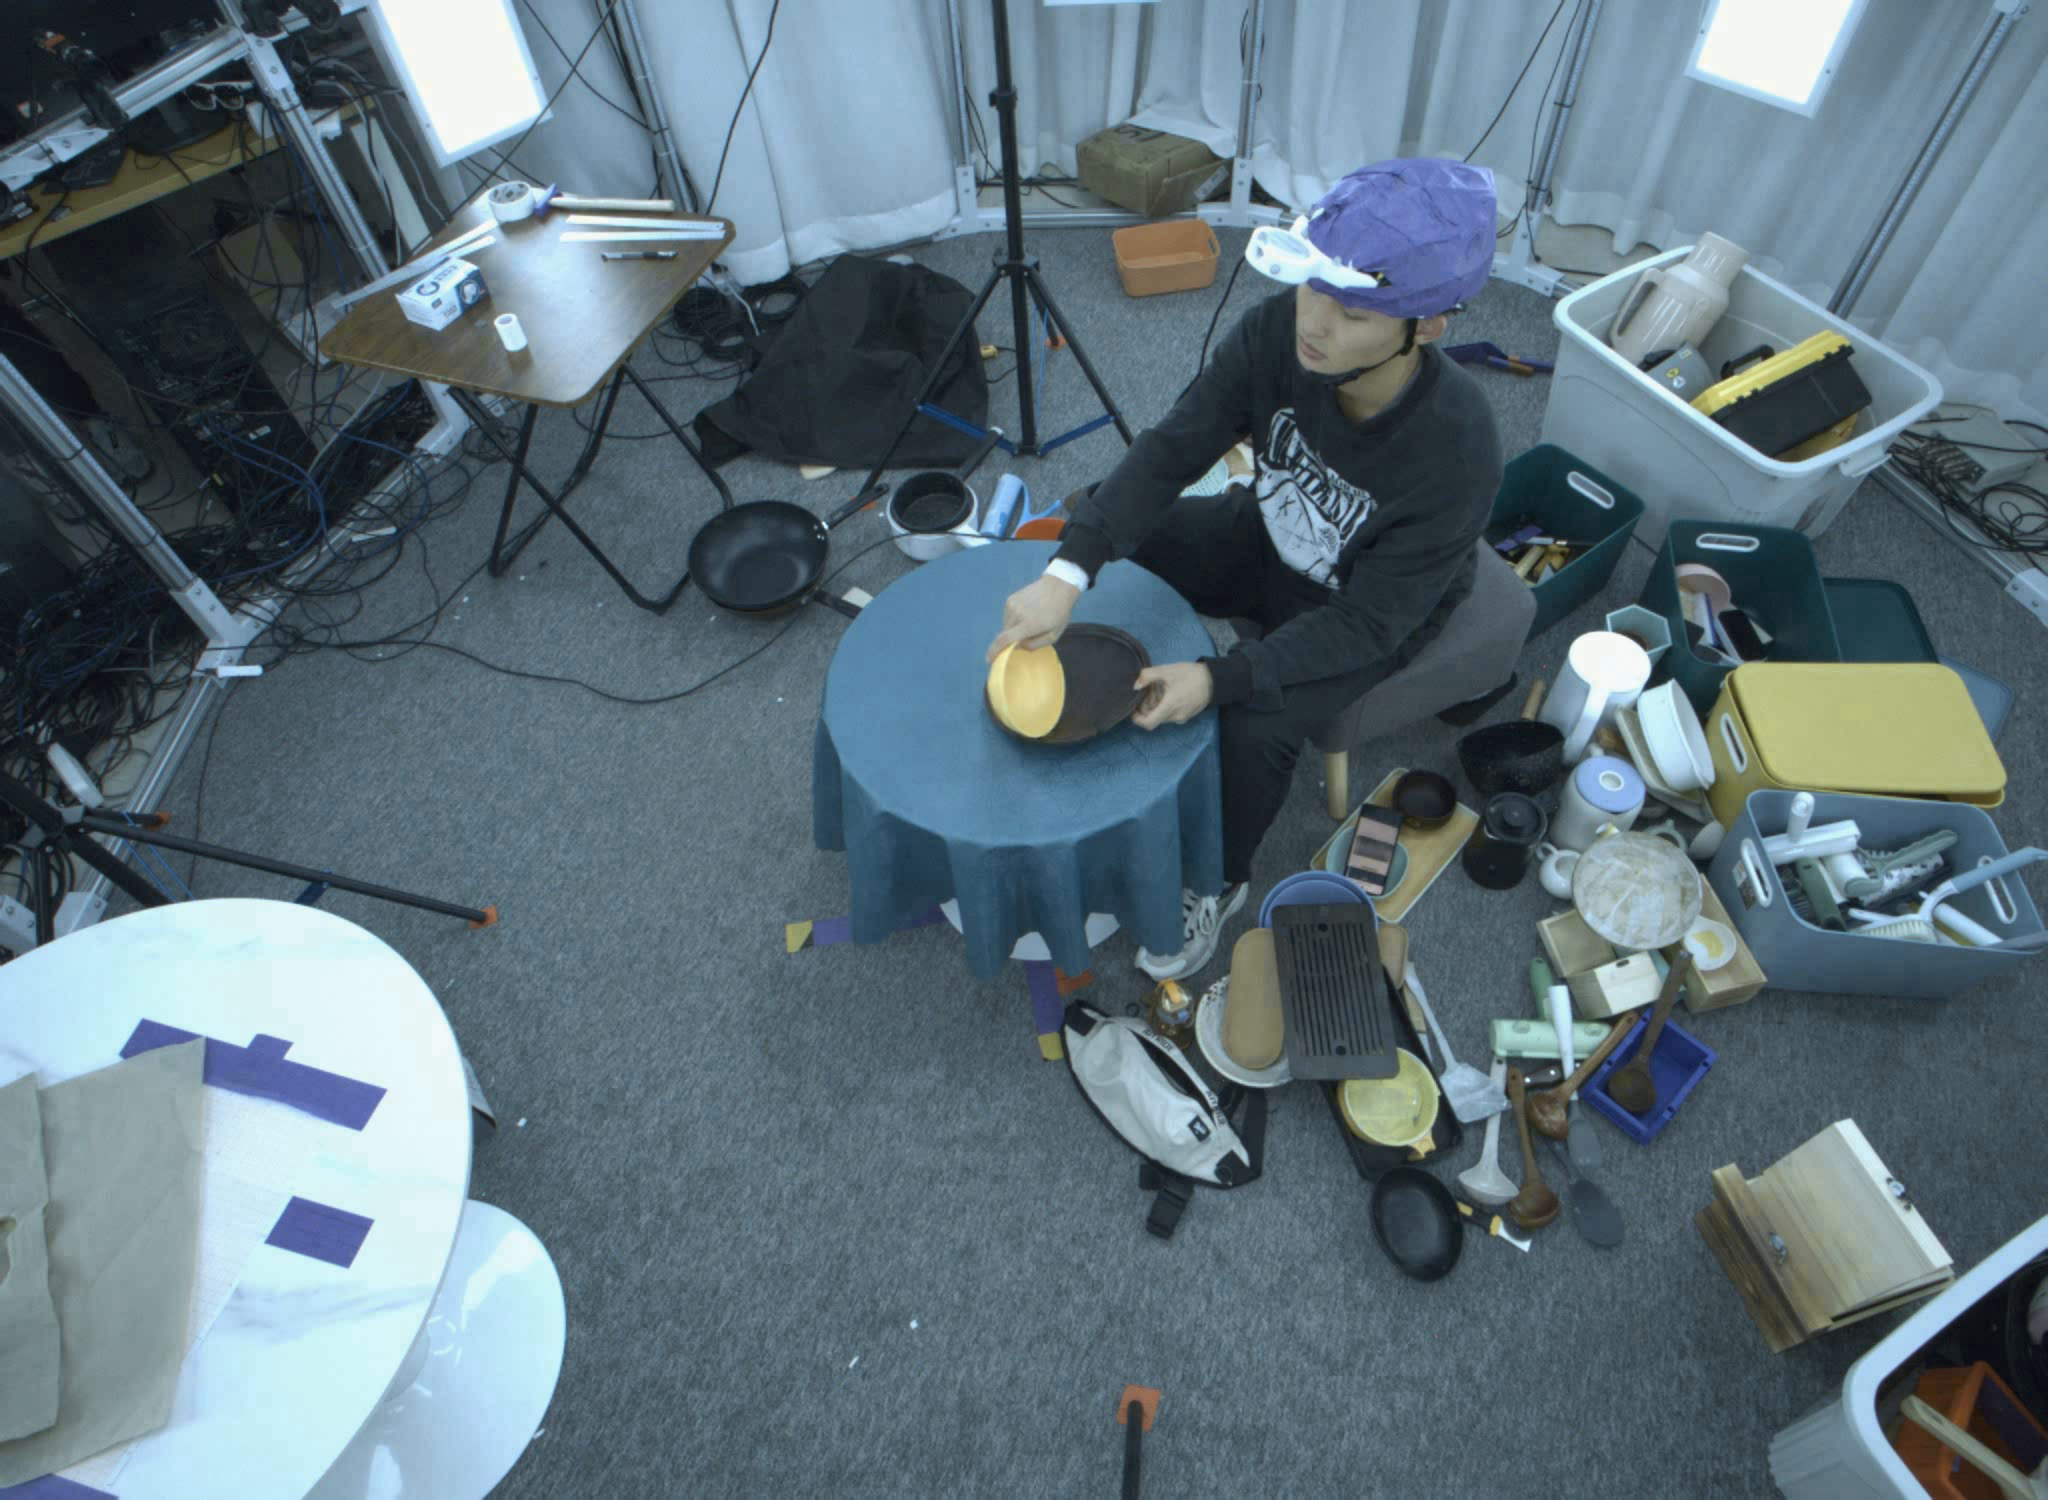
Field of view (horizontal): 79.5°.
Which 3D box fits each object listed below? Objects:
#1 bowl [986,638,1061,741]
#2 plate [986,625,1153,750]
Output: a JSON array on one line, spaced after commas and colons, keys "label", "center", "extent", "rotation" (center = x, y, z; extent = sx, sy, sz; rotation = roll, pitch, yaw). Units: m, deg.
[{"label": "bowl", "center": [-0.010, -0.084, 1.734], "extent": [0.059, 0.148, 0.145], "rotation": [-1, 51, 35]}, {"label": "plate", "center": [0.067, -0.093, 1.820], "extent": [0.253, 0.029, 0.252], "rotation": [-7, 45, 9]}]
